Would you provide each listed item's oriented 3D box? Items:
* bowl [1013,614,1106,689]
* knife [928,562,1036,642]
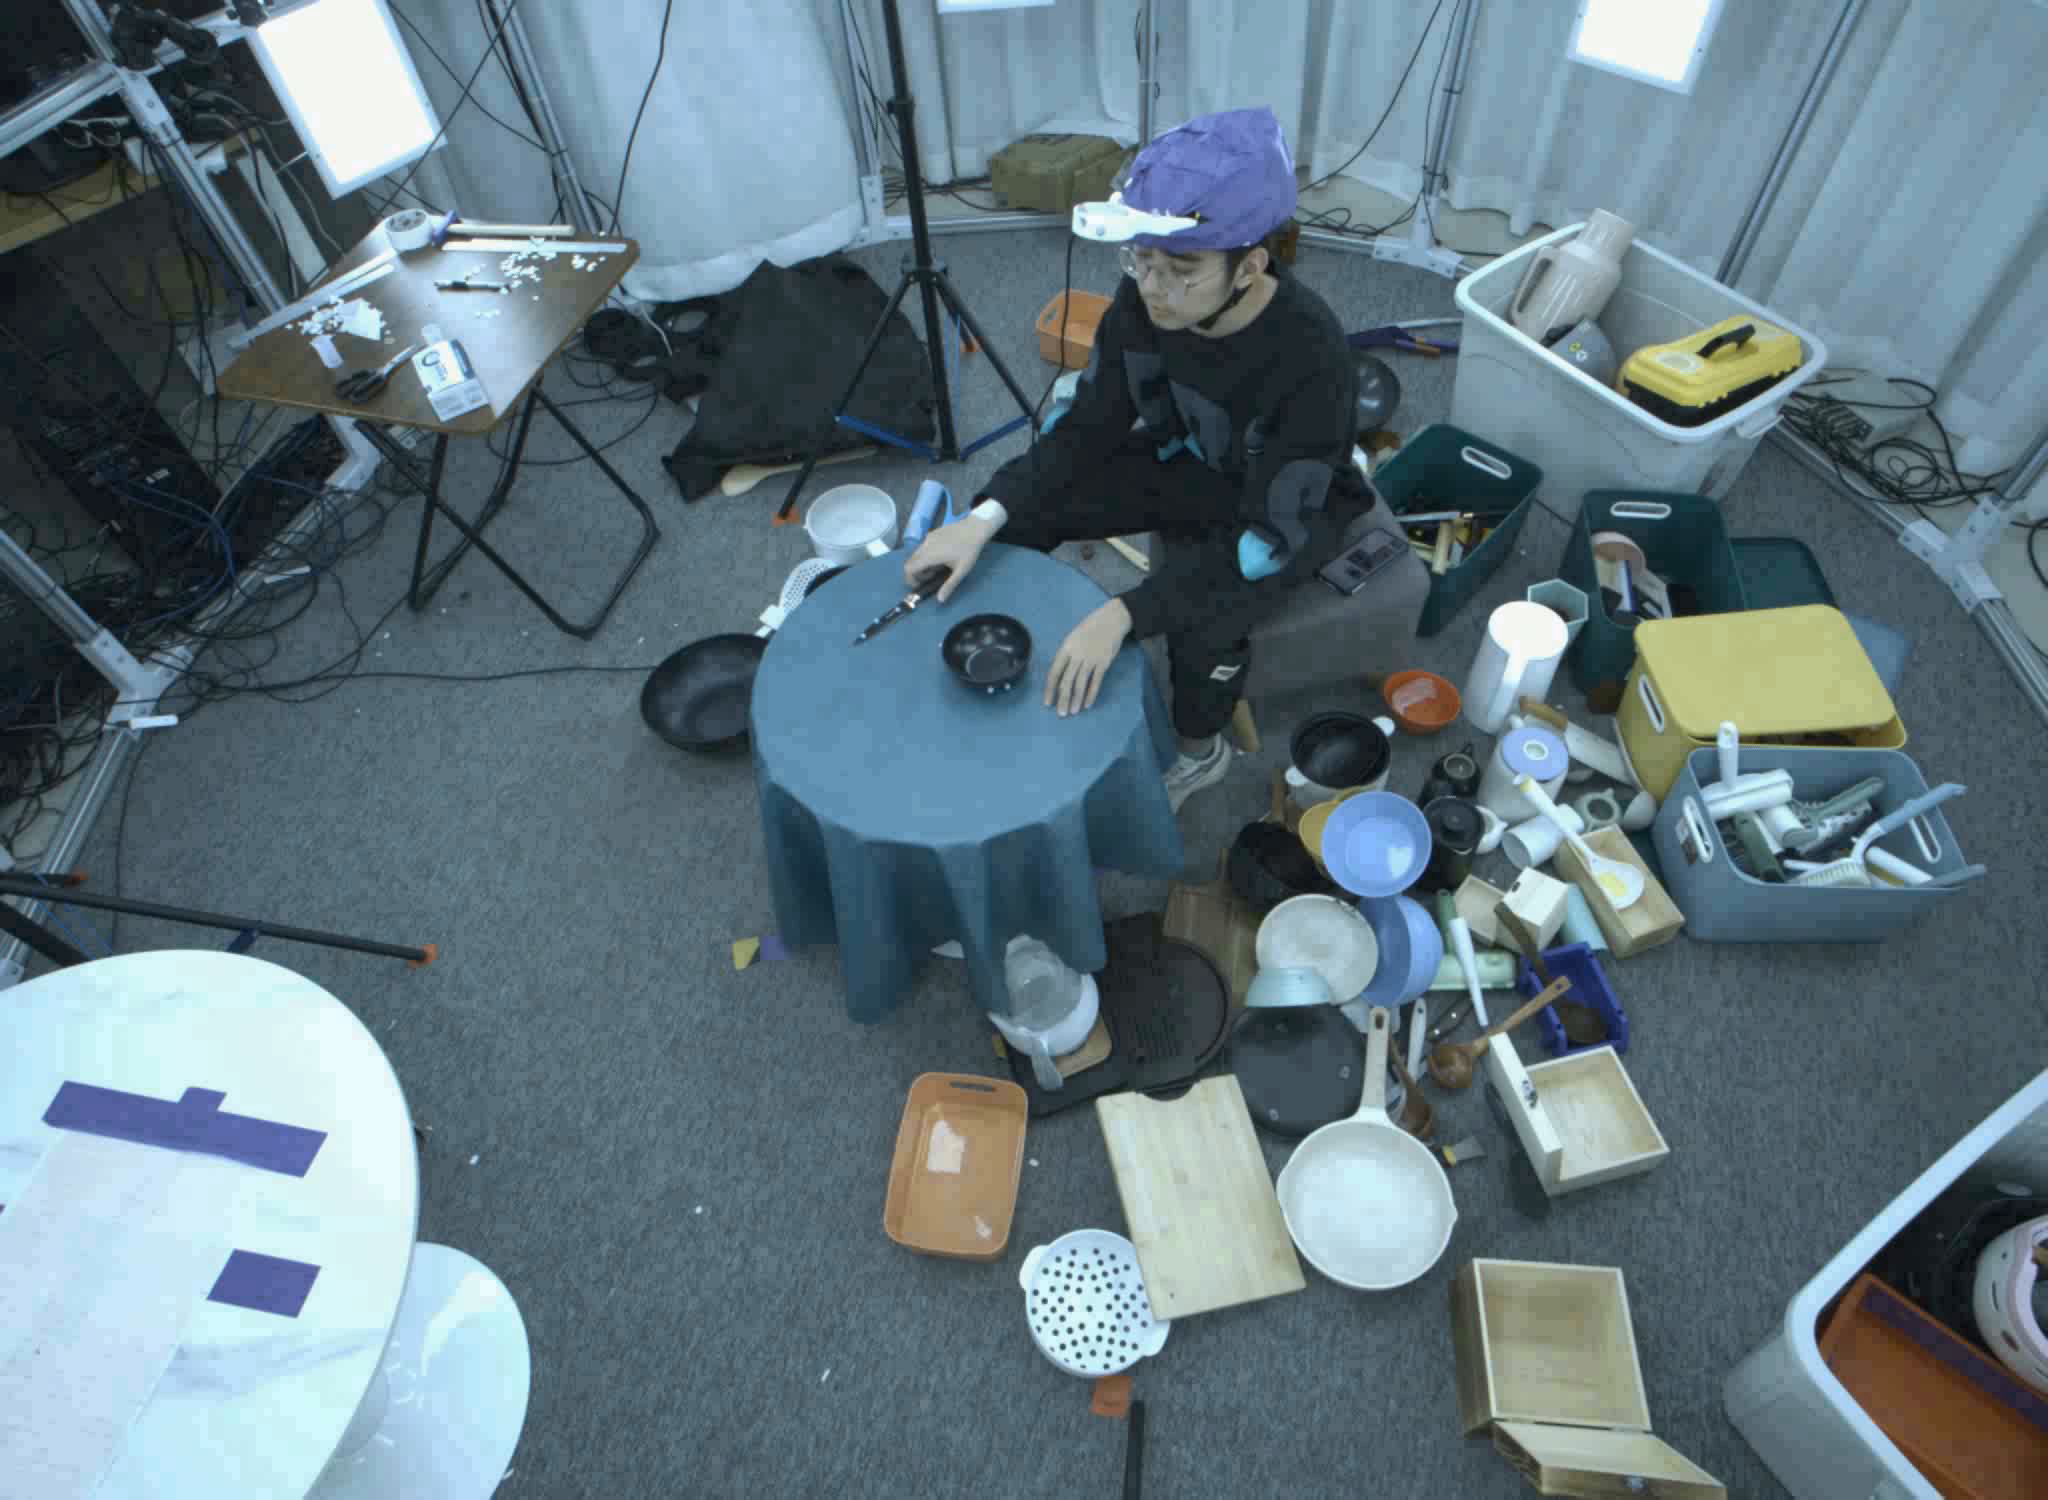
[{"bbox_3d":[0.054,-0.140,1.857,0.140,0.050,0.138,0,51,1],"label":"bowl"},{"bbox_3d":[-0.069,-0.237,1.950,0.227,0.017,0.026,-37,63,-20],"label":"knife"}]
